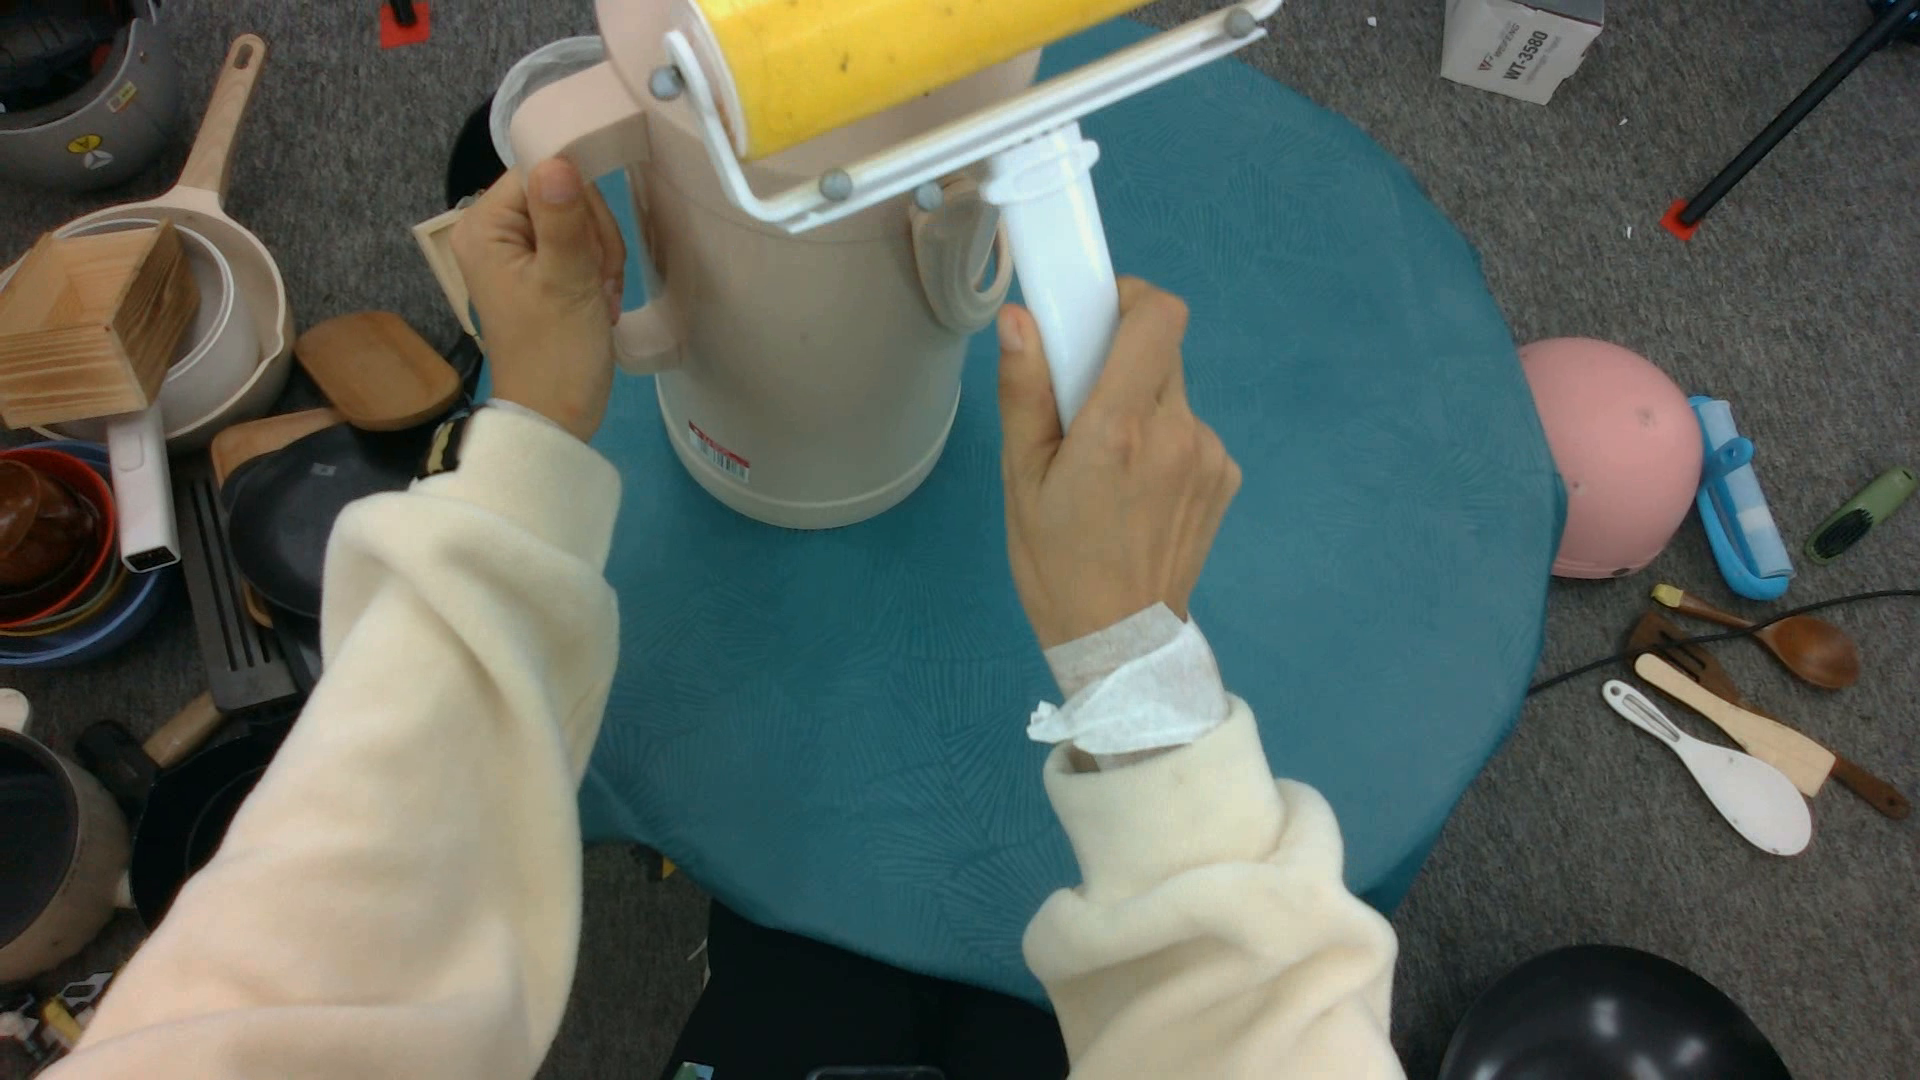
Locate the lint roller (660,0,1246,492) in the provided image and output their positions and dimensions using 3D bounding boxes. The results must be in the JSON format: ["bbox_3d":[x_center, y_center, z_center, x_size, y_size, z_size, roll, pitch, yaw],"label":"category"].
[{"bbox_3d":[0.029,-0.098,0.396,0.174,0.051,0.191,-27,107,-14],"label":"lint roller"}]

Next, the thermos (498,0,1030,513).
[{"bbox_3d":[-0.076,-0.154,0.567,0.207,0.404,0.175,-31,76,-18],"label":"thermos"}]
